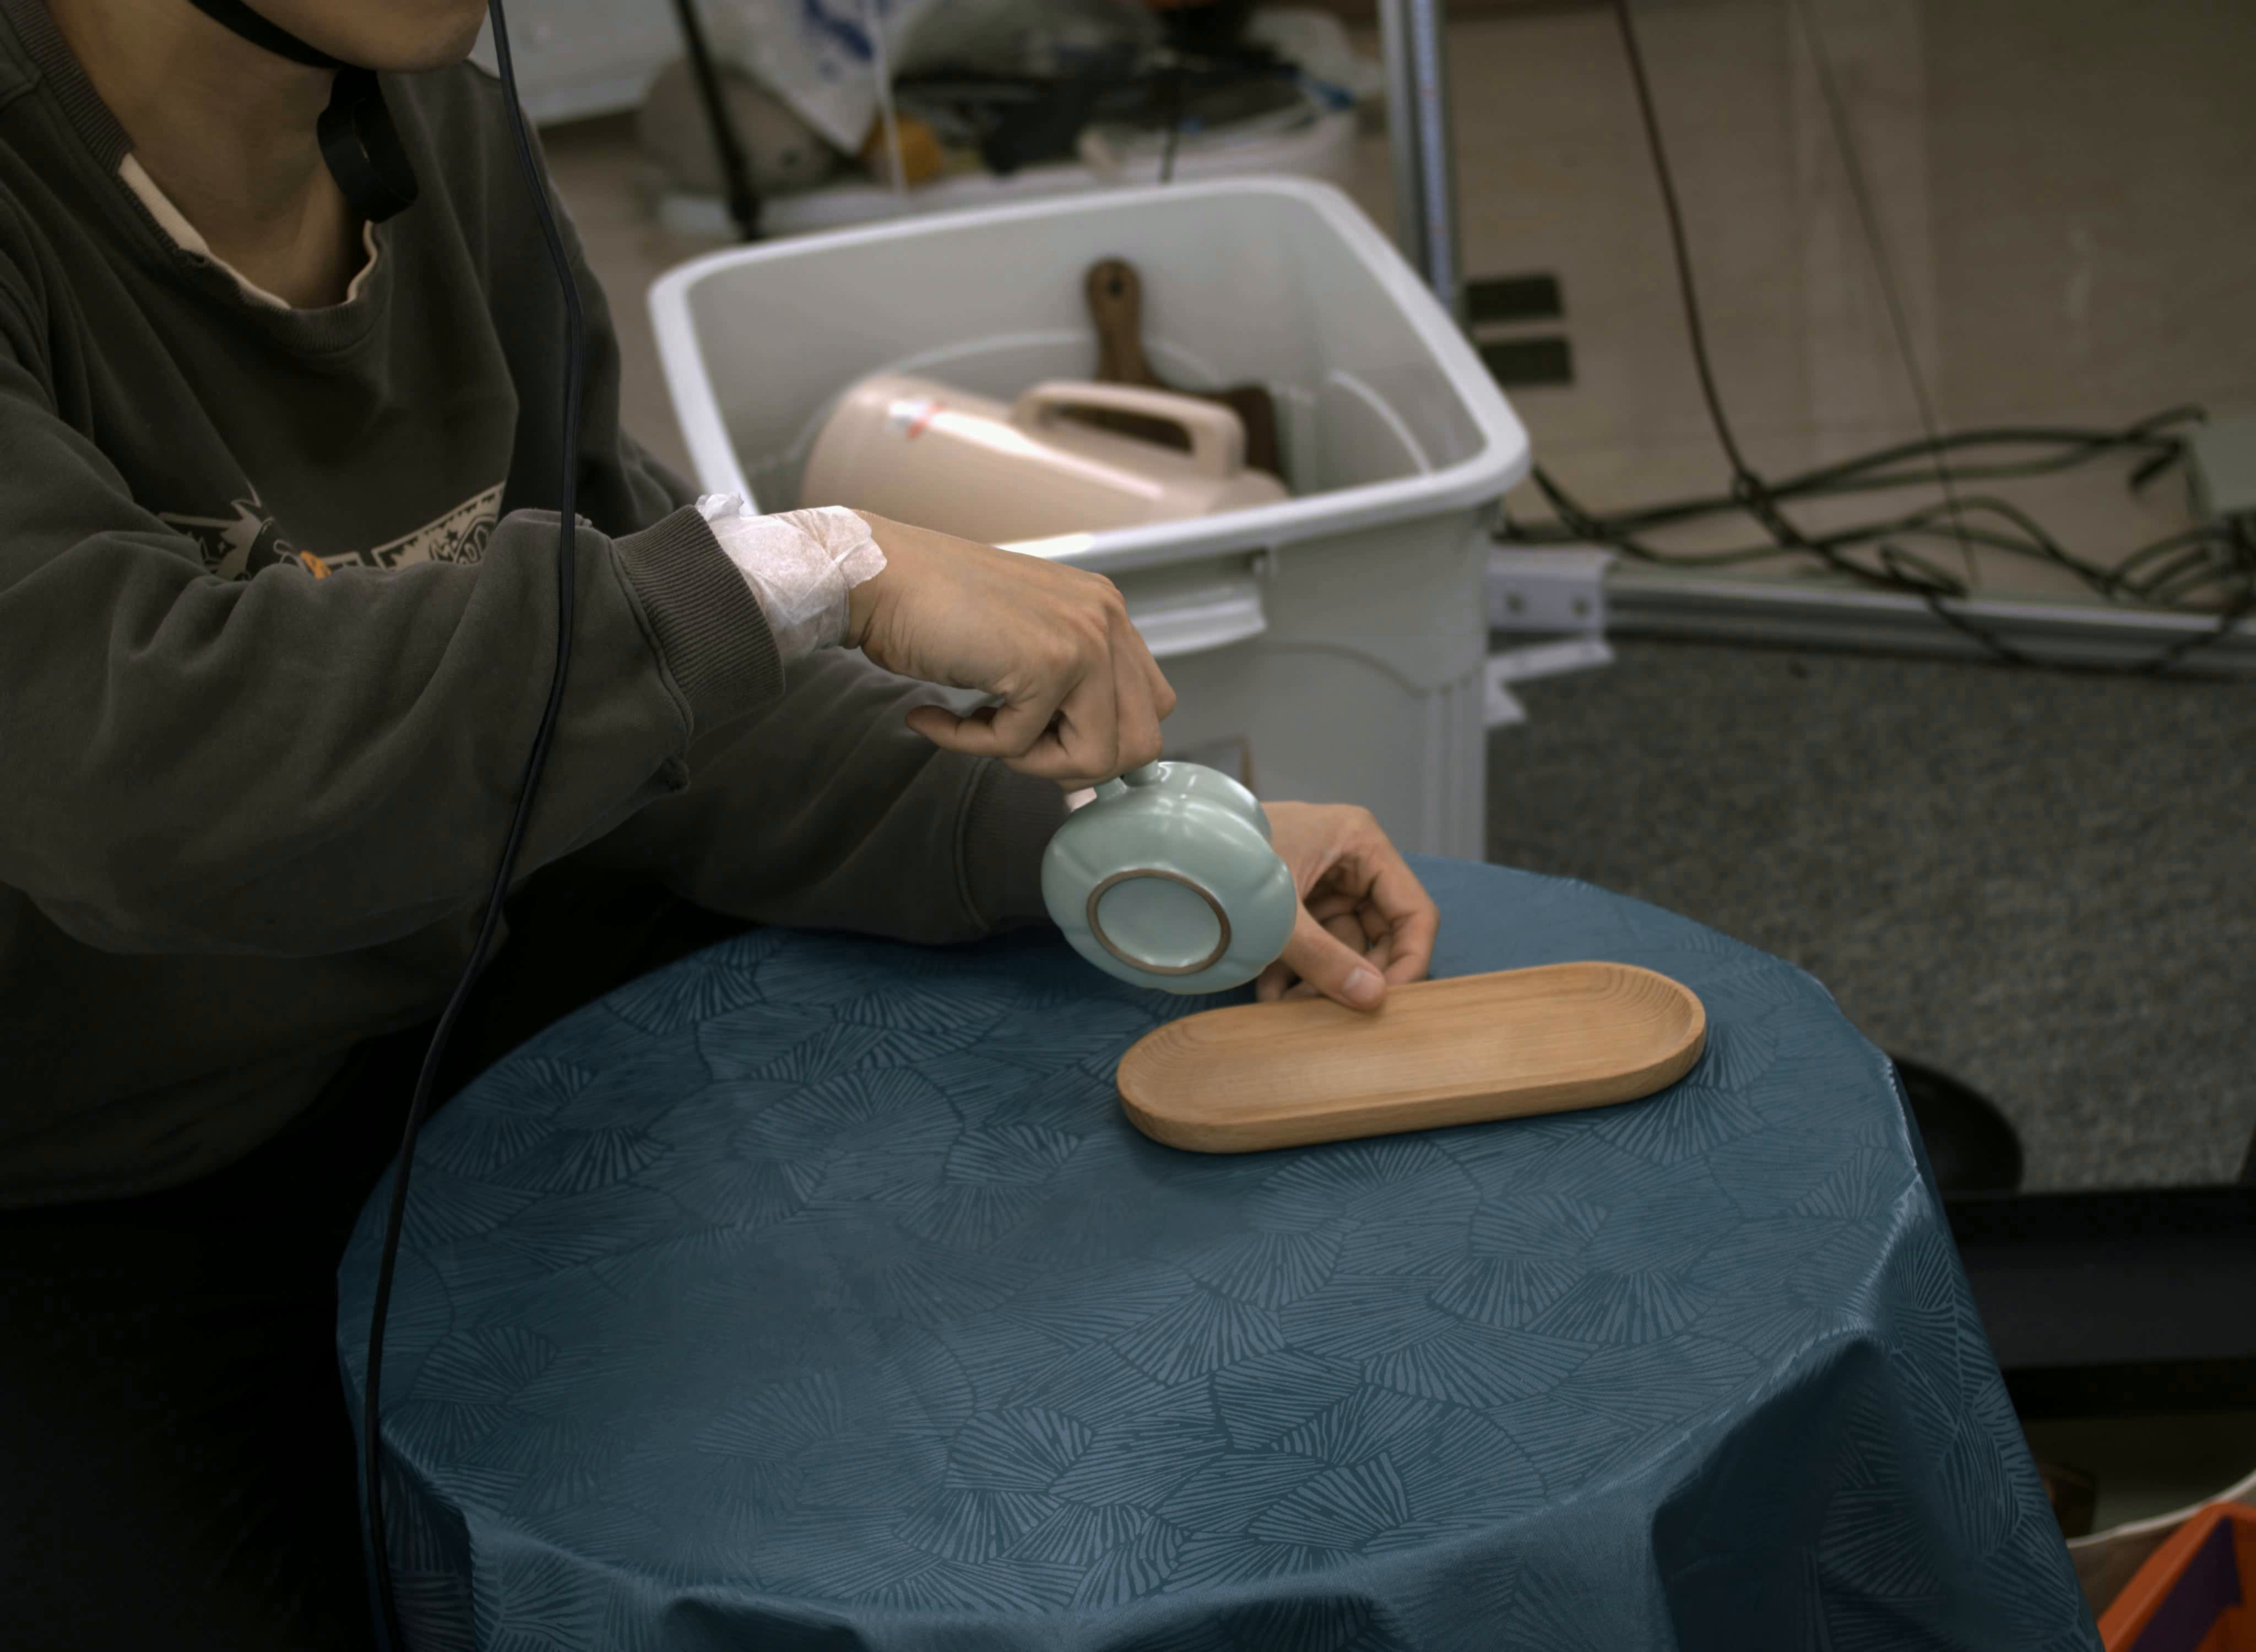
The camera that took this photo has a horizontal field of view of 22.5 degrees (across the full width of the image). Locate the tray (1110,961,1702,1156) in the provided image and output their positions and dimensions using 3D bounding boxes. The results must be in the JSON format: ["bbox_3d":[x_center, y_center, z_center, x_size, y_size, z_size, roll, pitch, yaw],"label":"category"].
[{"bbox_3d":[0.108,0.091,2.203,0.231,0.020,0.100,-9,25,-2],"label":"tray"}]

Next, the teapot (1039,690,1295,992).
[{"bbox_3d":[0.015,0.012,2.103,0.096,0.139,0.060,-9,40,26],"label":"teapot"}]
